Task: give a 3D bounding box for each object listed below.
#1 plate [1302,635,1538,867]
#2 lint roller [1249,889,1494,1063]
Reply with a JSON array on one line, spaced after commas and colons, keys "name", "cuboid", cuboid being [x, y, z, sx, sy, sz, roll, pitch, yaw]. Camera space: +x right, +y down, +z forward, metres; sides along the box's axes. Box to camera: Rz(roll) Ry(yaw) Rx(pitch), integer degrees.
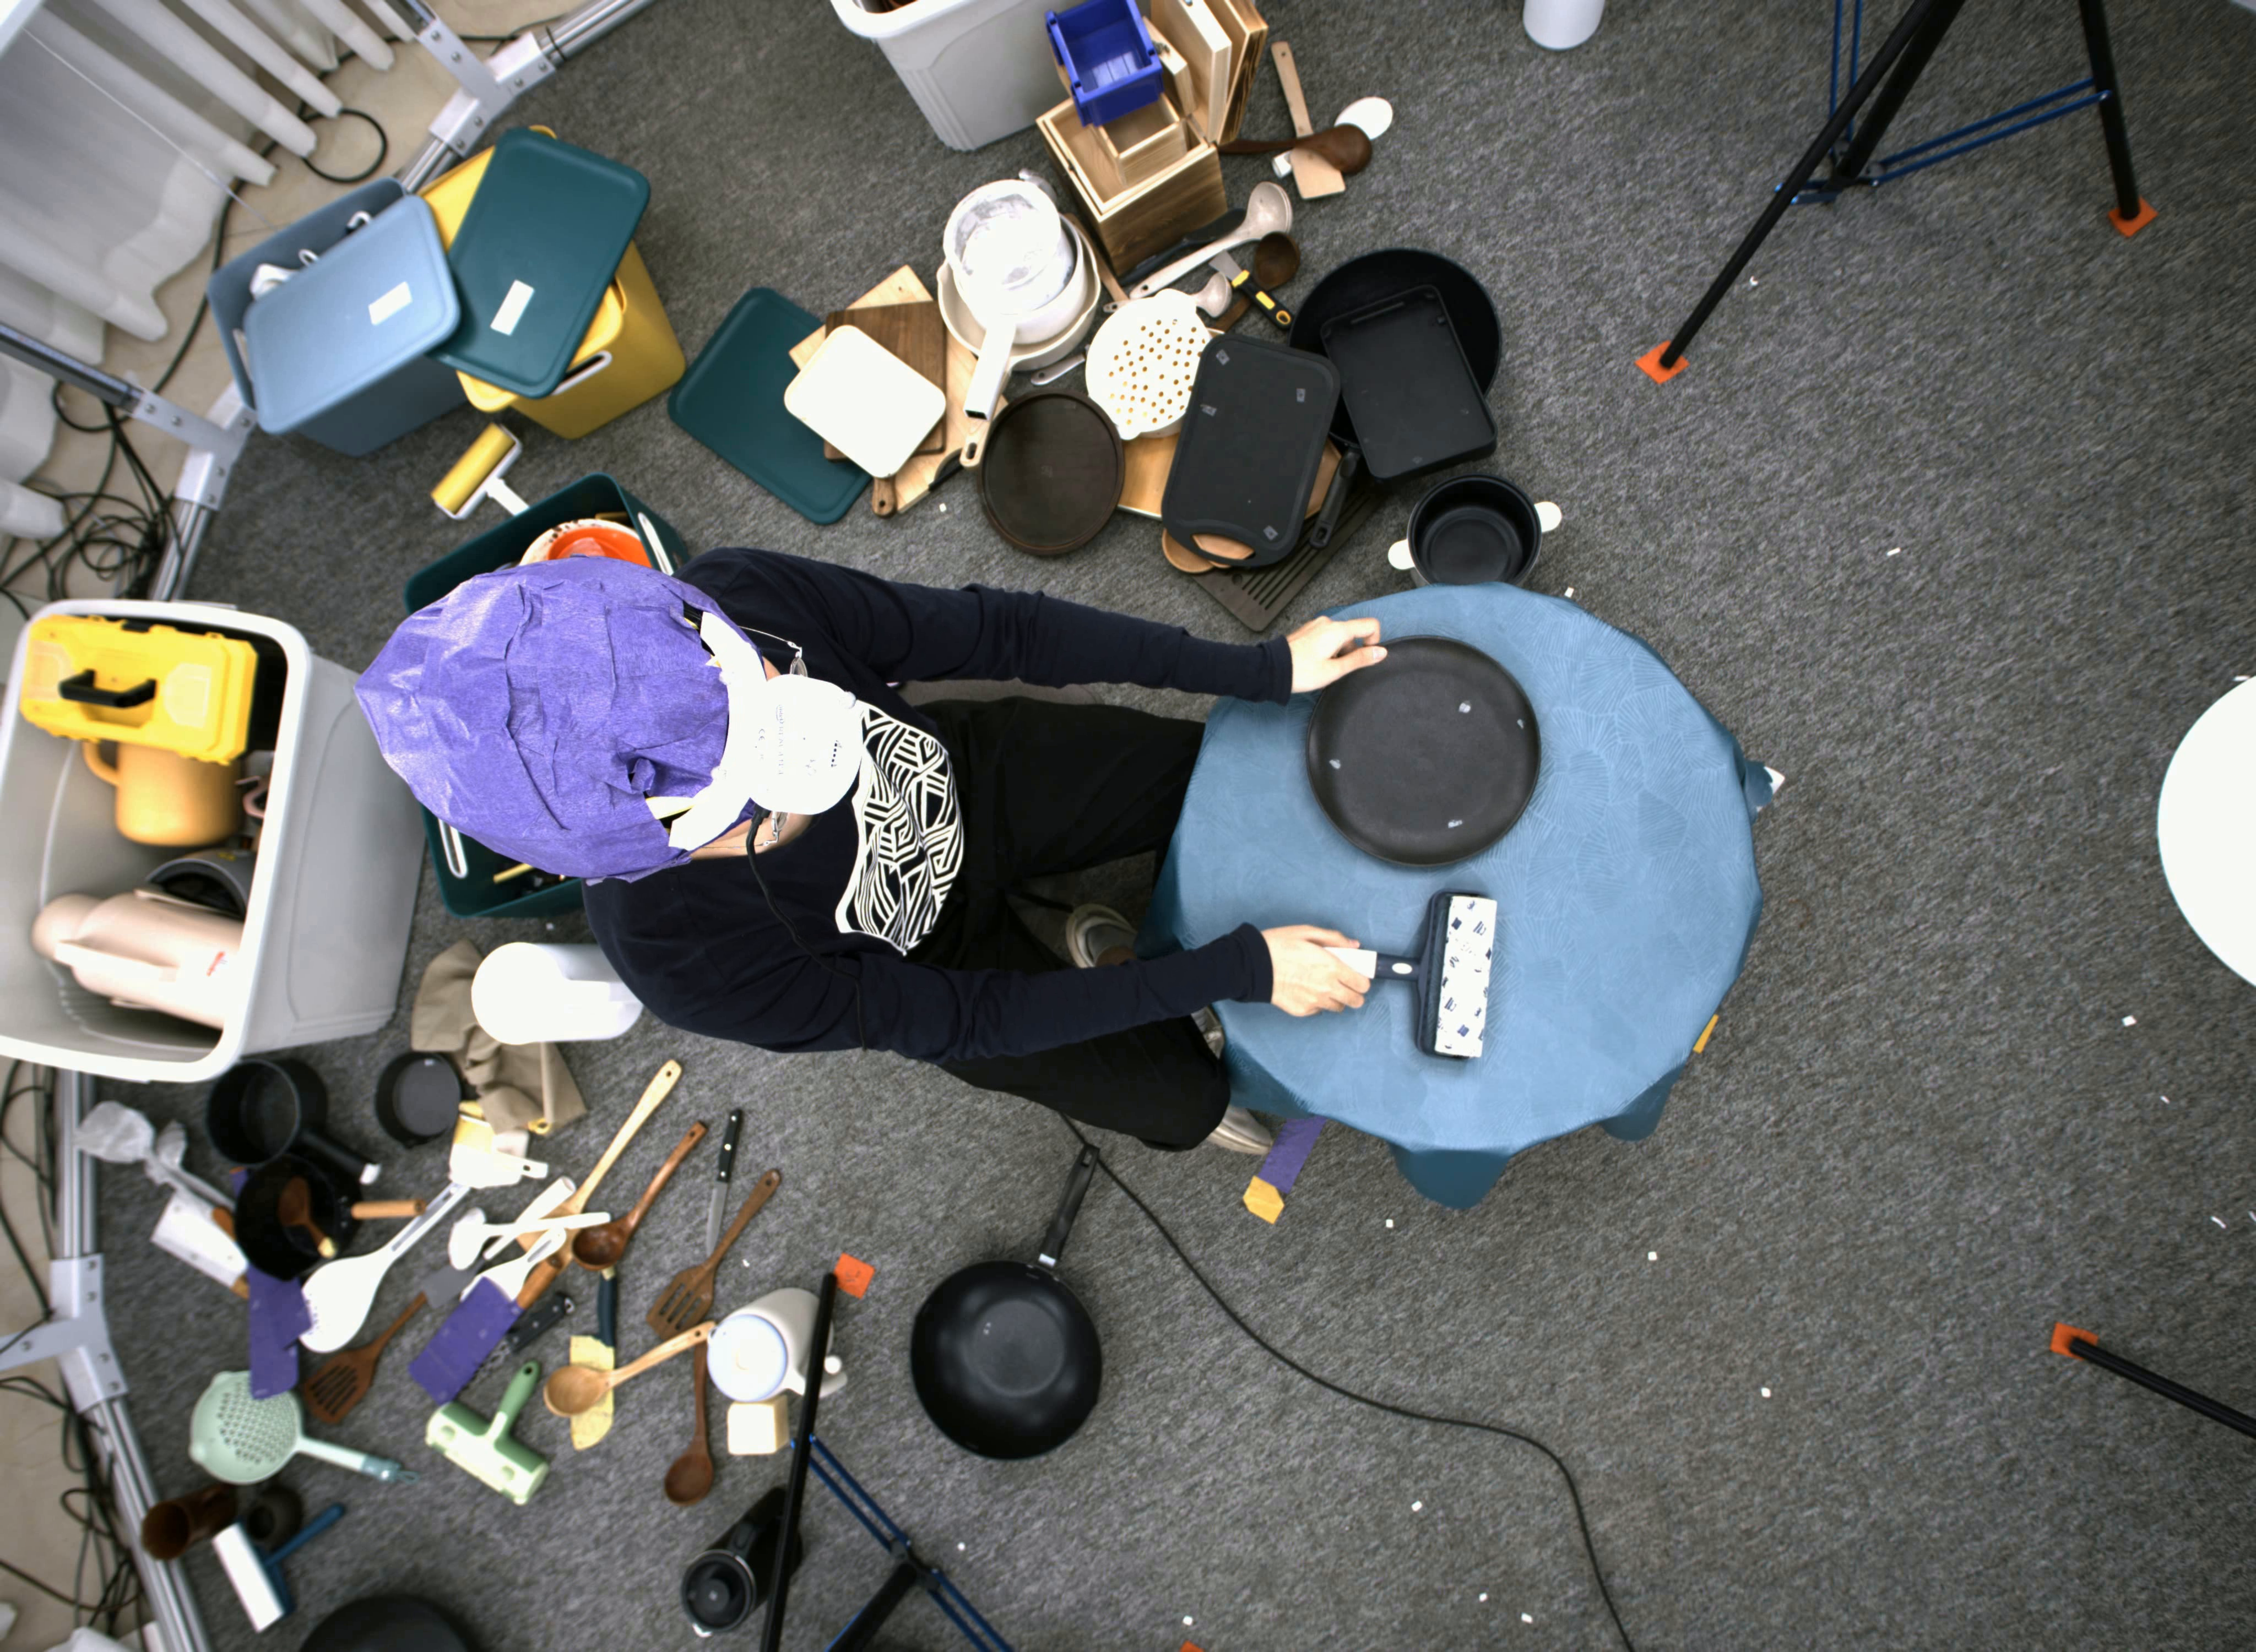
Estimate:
[{"name": "plate", "cuboid": [0.305, -0.080, 1.443, 0.245, 0.023, 0.244, 0, 91, 8]}, {"name": "lint roller", "cuboid": [0.247, 0.142, 1.438, 0.248, 0.050, 0.176, 6, 89, 13]}]
